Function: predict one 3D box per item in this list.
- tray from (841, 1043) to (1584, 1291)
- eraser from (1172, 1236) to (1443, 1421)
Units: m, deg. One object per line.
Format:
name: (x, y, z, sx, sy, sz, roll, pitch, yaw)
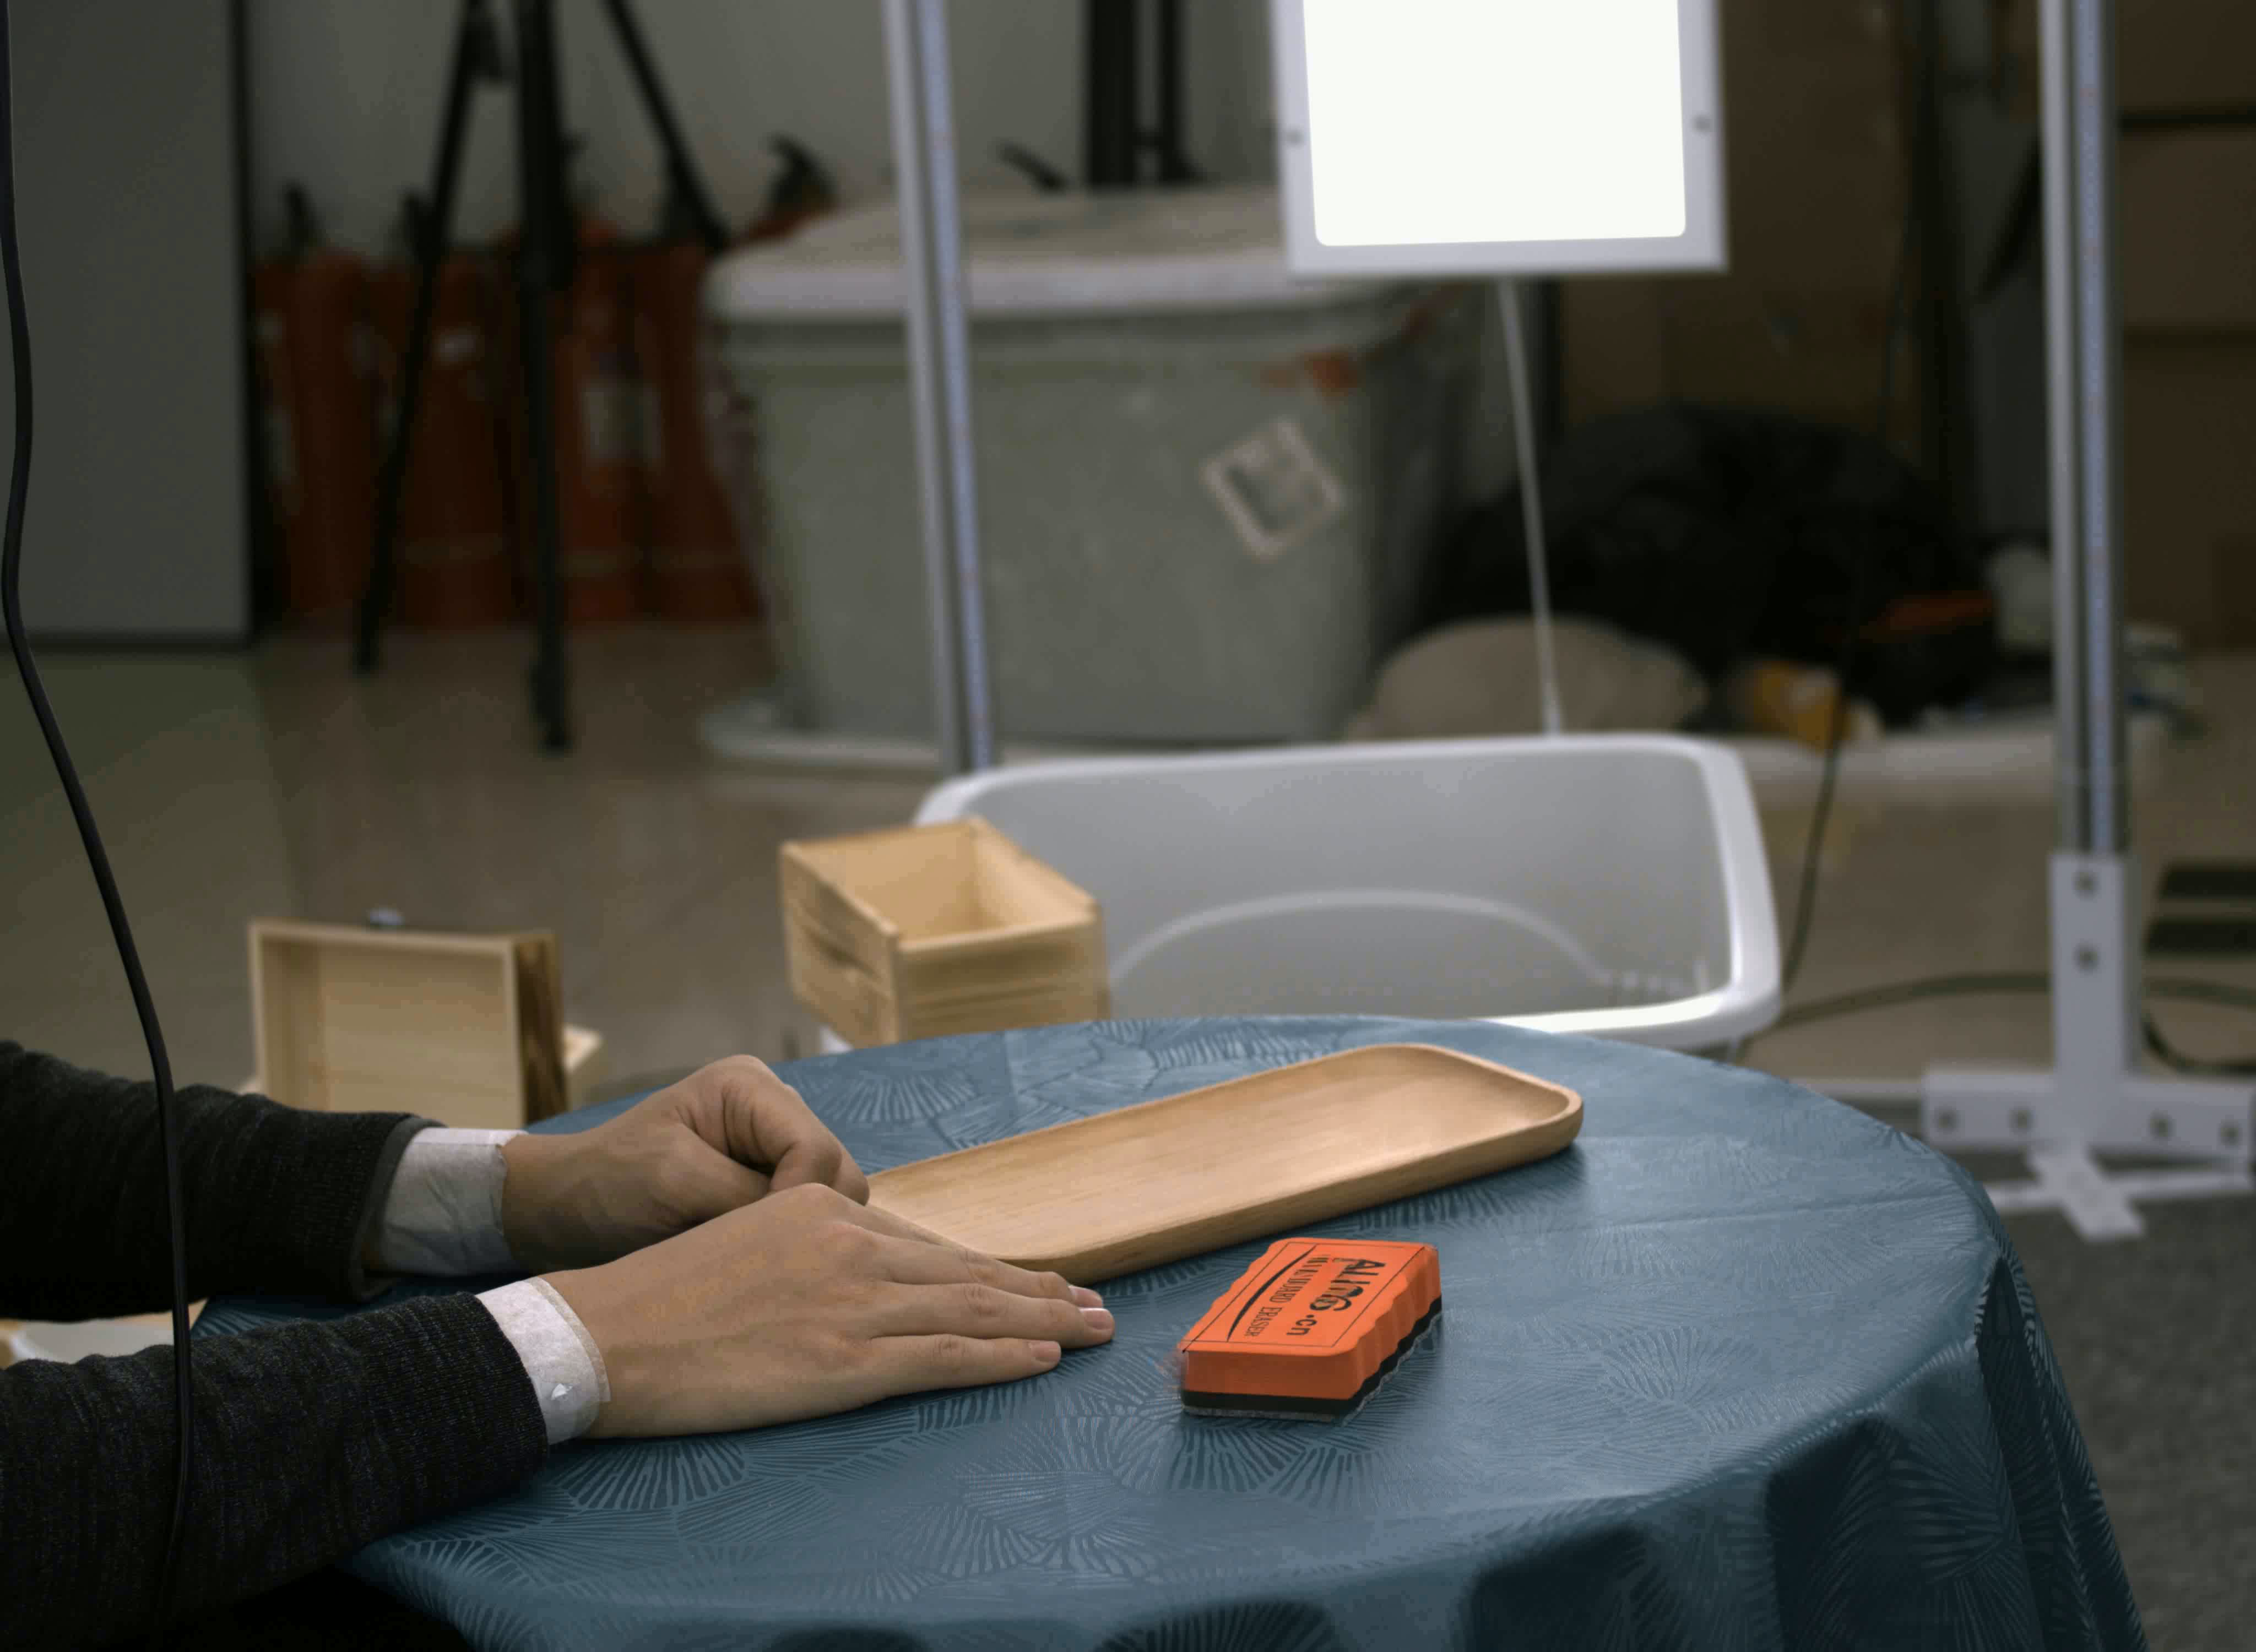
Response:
tray: (0.031, 0.116, 1.893, 0.245, 0.023, 0.133, -13, 13, -28)
eraser: (0.057, 0.155, 1.709, 0.060, 0.023, 0.106, 1, 15, 22)
